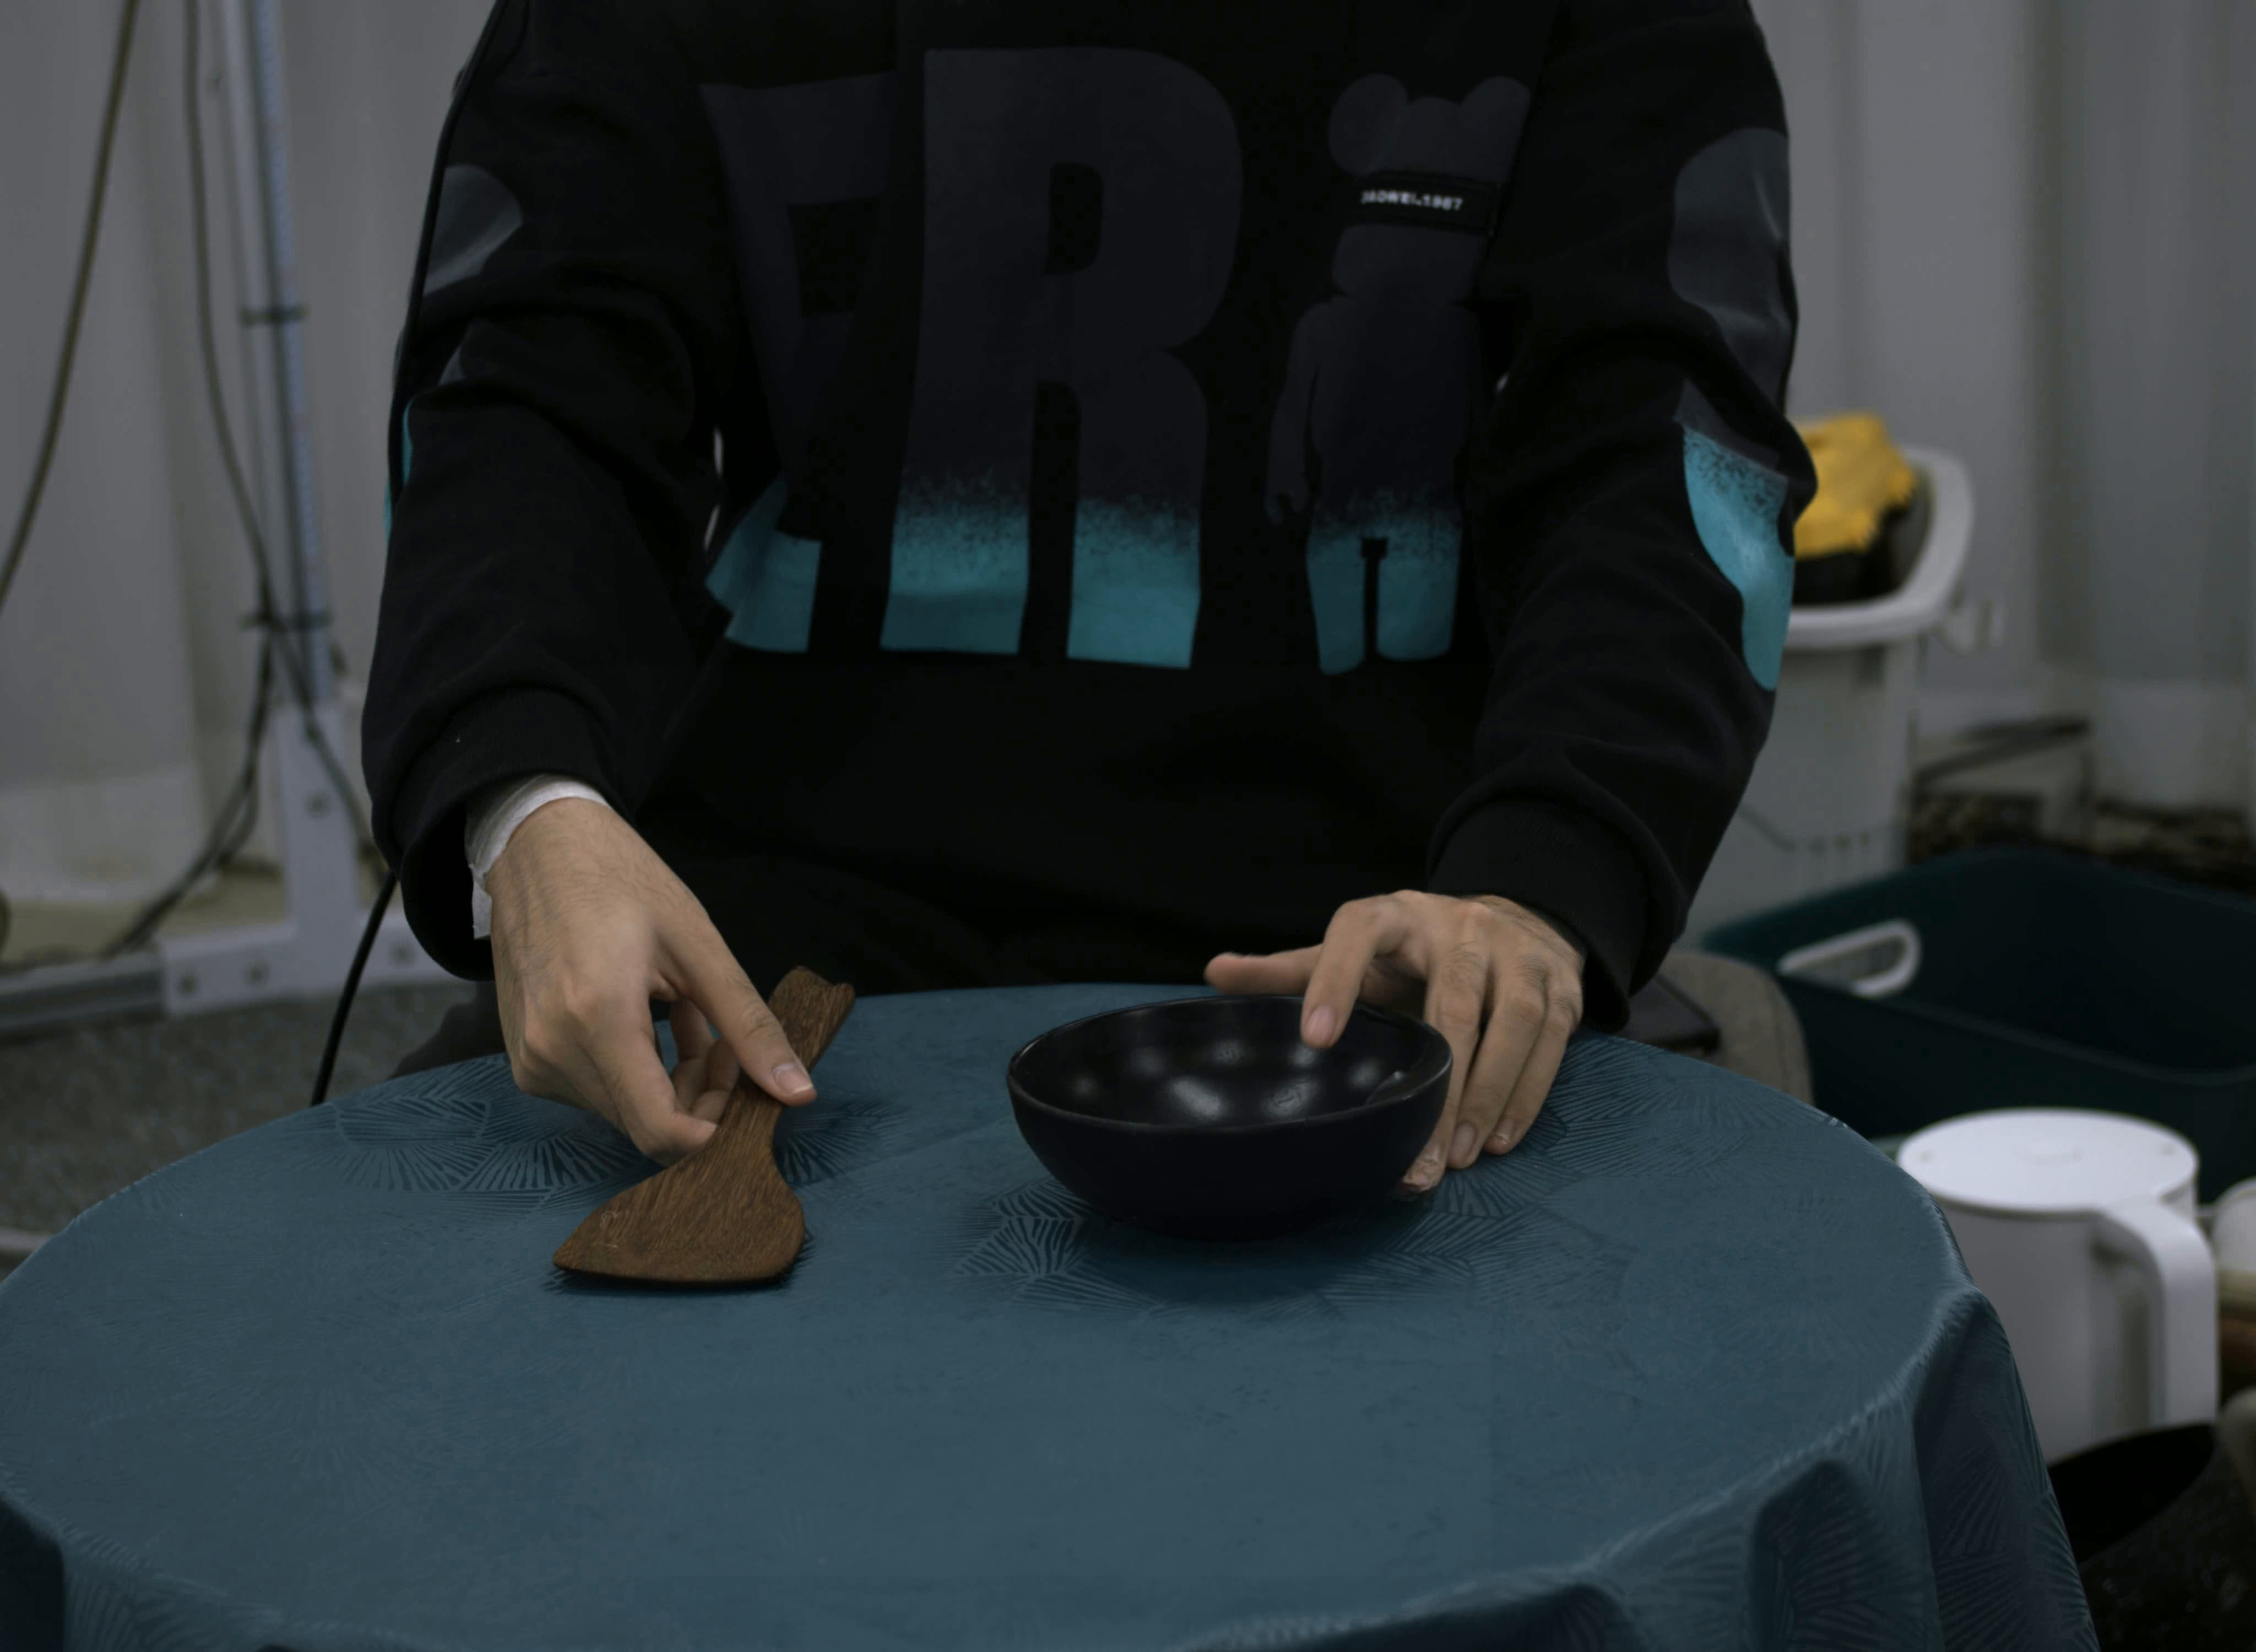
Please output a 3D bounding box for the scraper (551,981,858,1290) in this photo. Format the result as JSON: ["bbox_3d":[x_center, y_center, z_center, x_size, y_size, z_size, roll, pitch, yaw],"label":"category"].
[{"bbox_3d":[-0.121,0.097,1.738,0.076,0.011,0.213,3,25,10],"label":"scraper"}]

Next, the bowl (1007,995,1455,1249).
[{"bbox_3d":[0.034,0.096,1.688,0.139,0.049,0.141,-5,14,1],"label":"bowl"}]
